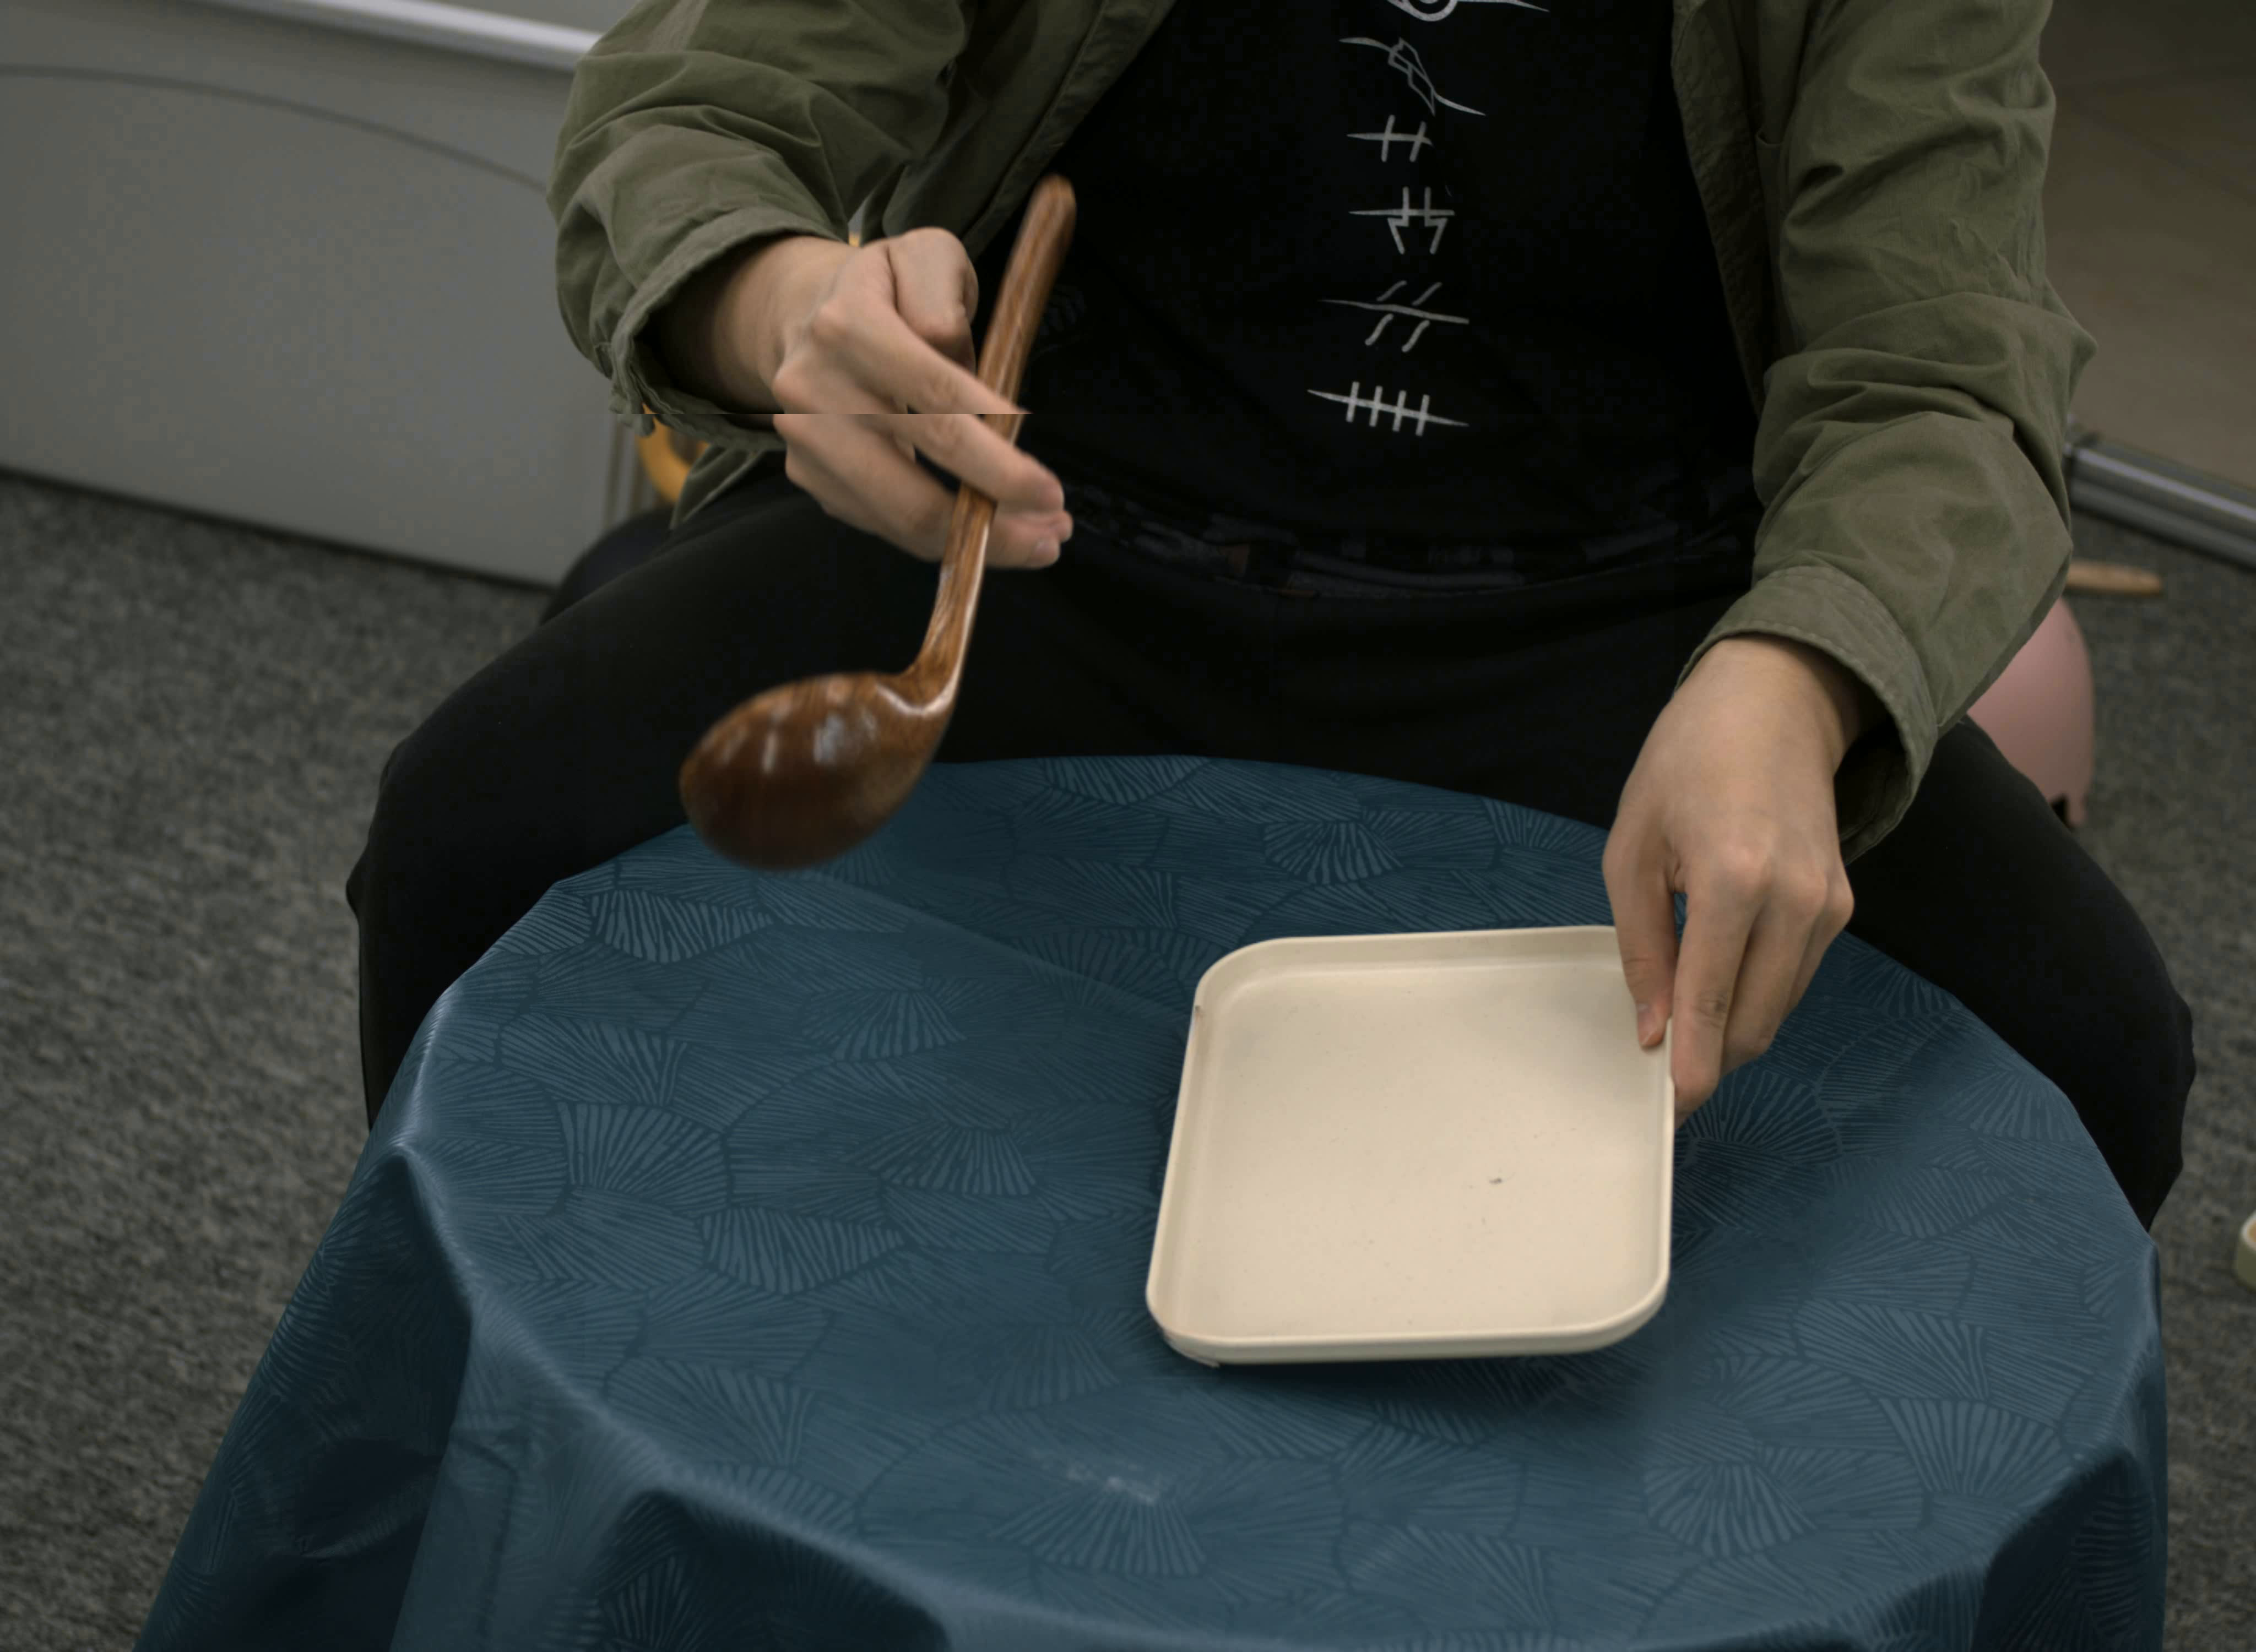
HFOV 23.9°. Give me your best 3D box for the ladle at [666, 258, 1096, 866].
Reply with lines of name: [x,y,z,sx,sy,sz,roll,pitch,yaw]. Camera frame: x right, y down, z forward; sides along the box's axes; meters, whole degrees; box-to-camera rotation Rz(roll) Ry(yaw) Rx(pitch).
ladle: [-0.080,-0.096,1.744,0.076,0.081,0.275,21,51,-5]

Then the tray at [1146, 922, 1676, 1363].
tray: [0.099,0.105,1.785,0.171,0.017,0.241,-3,31,9]
